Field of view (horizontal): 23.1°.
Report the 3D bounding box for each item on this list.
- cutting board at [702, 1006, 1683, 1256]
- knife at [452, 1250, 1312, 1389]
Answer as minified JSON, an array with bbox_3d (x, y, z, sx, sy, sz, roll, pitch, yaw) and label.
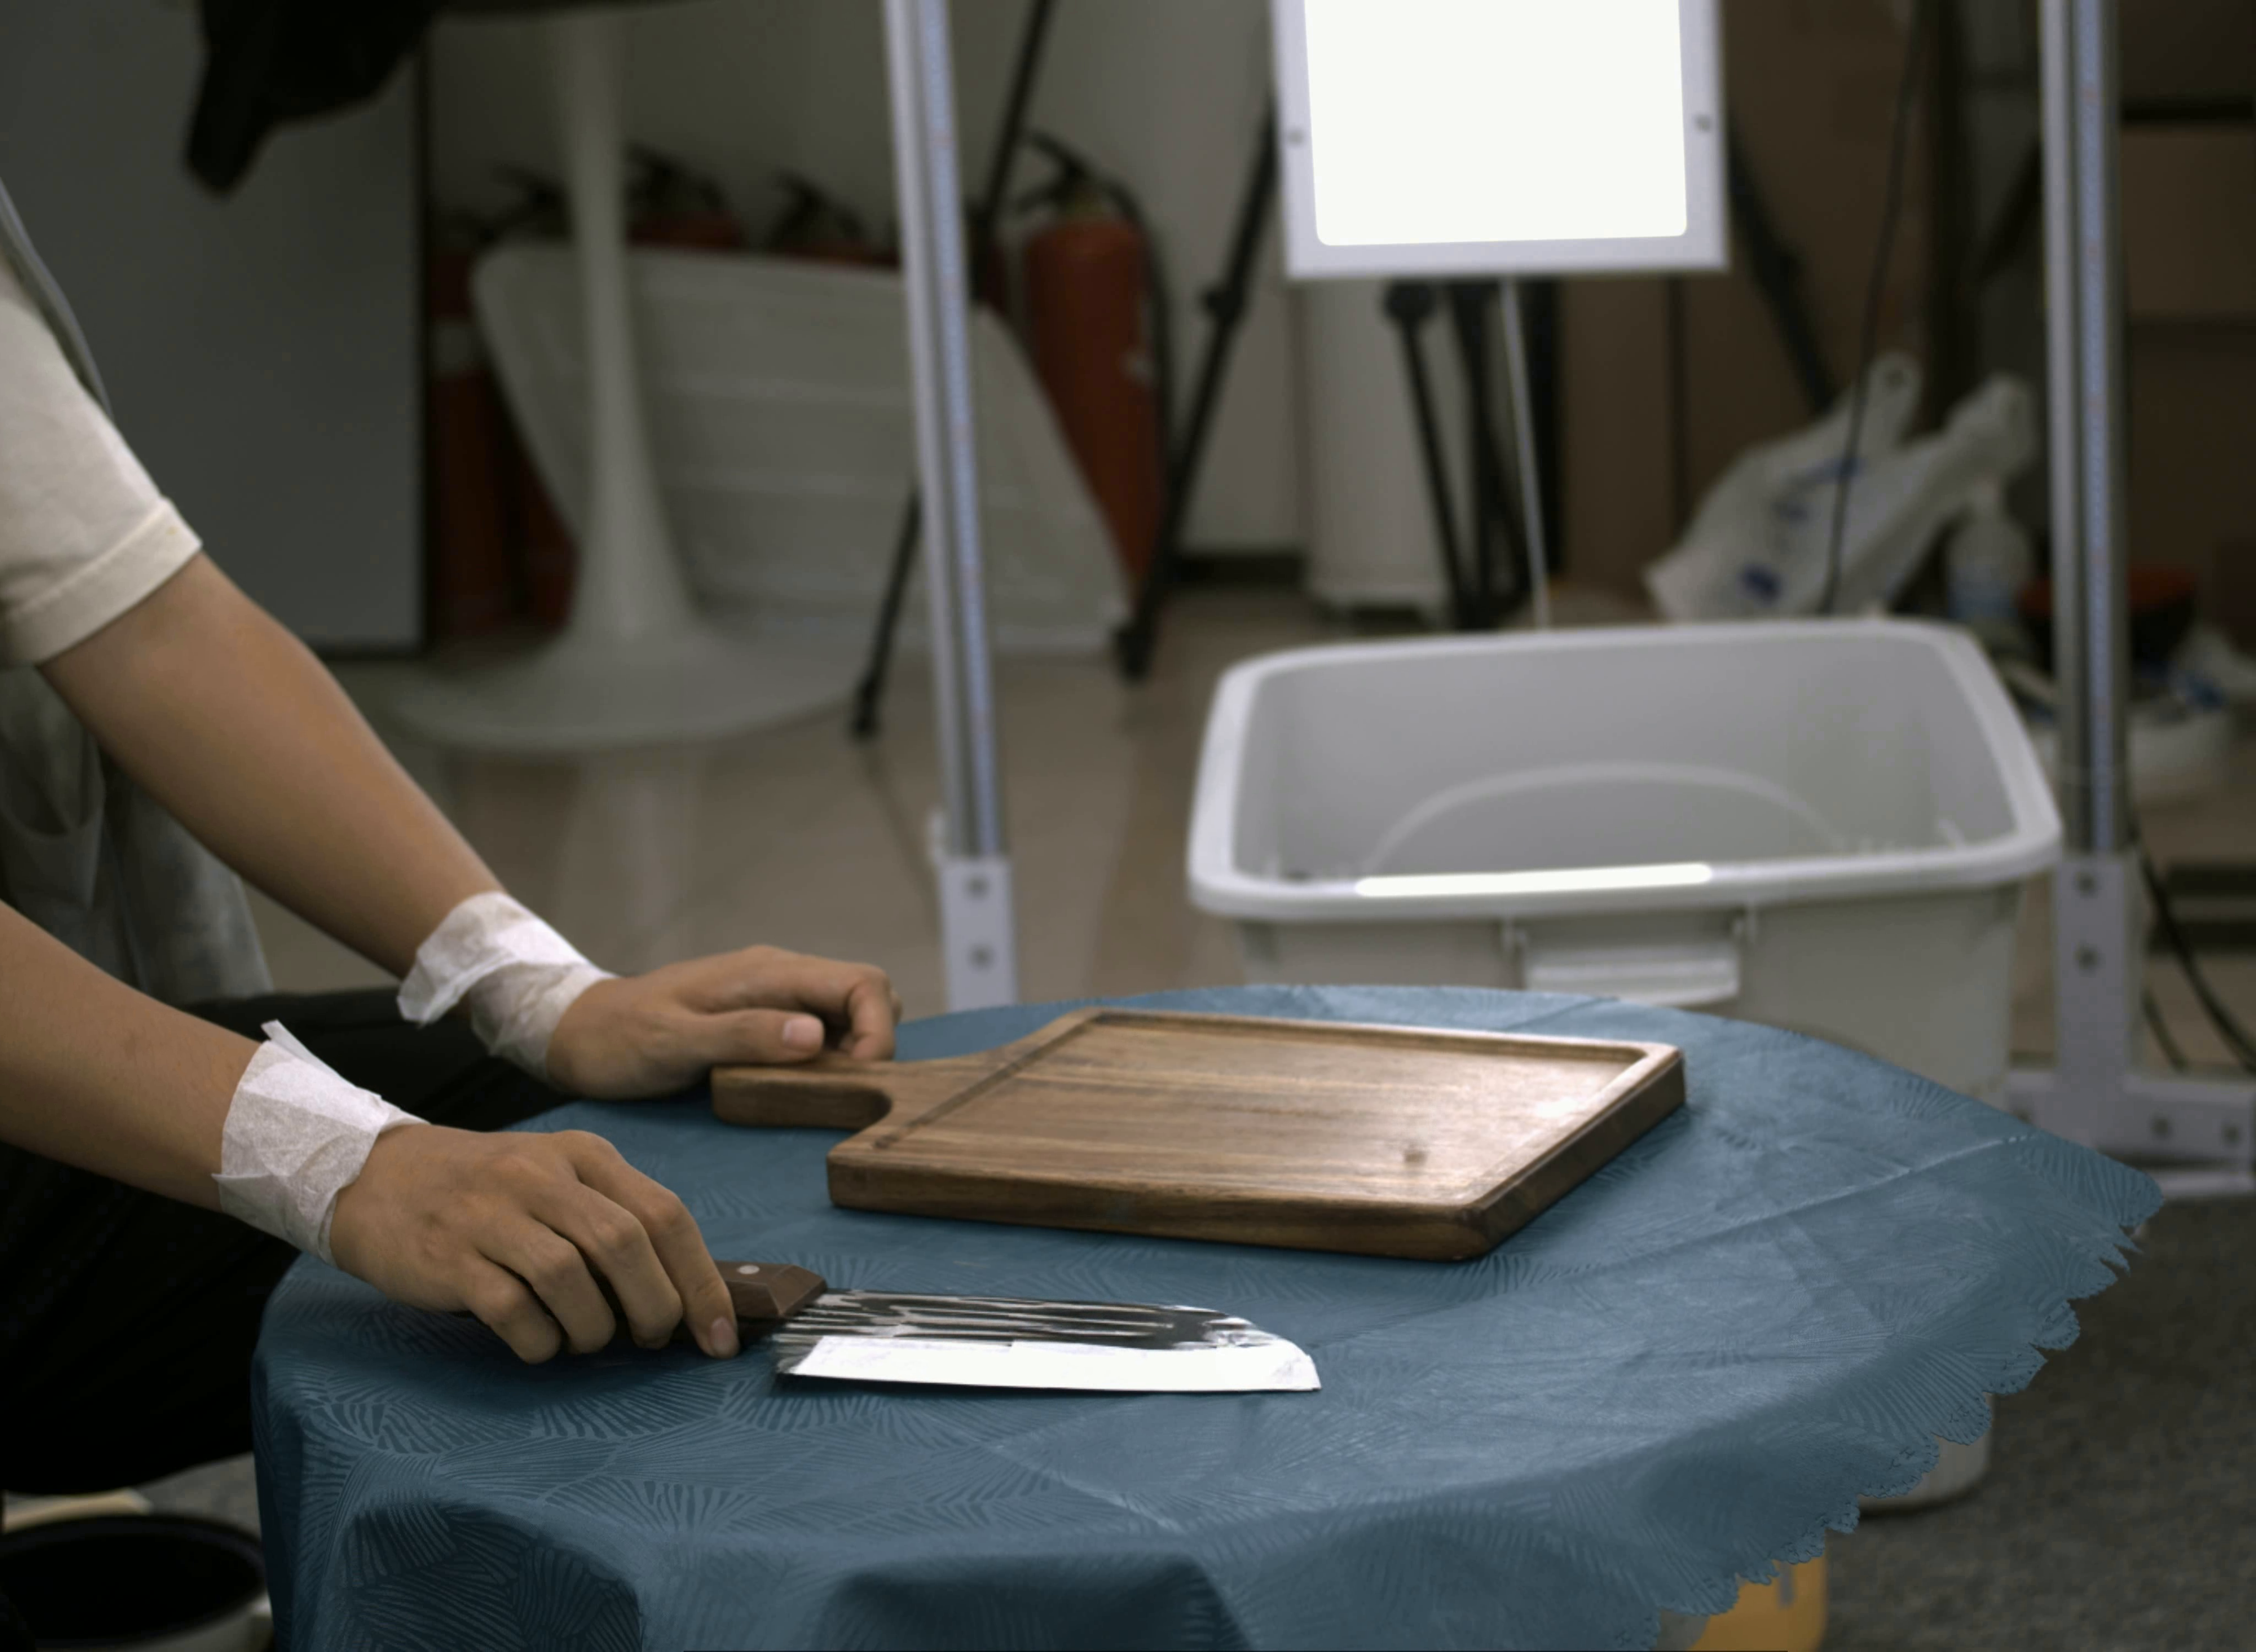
[{"bbox_3d":[0.002,0.102,1.953,0.359,0.023,0.196,2,15,30],"label":"cutting board"},{"bbox_3d":[-0.083,0.160,1.749,0.303,0.024,0.067,2,18,17],"label":"knife"}]
